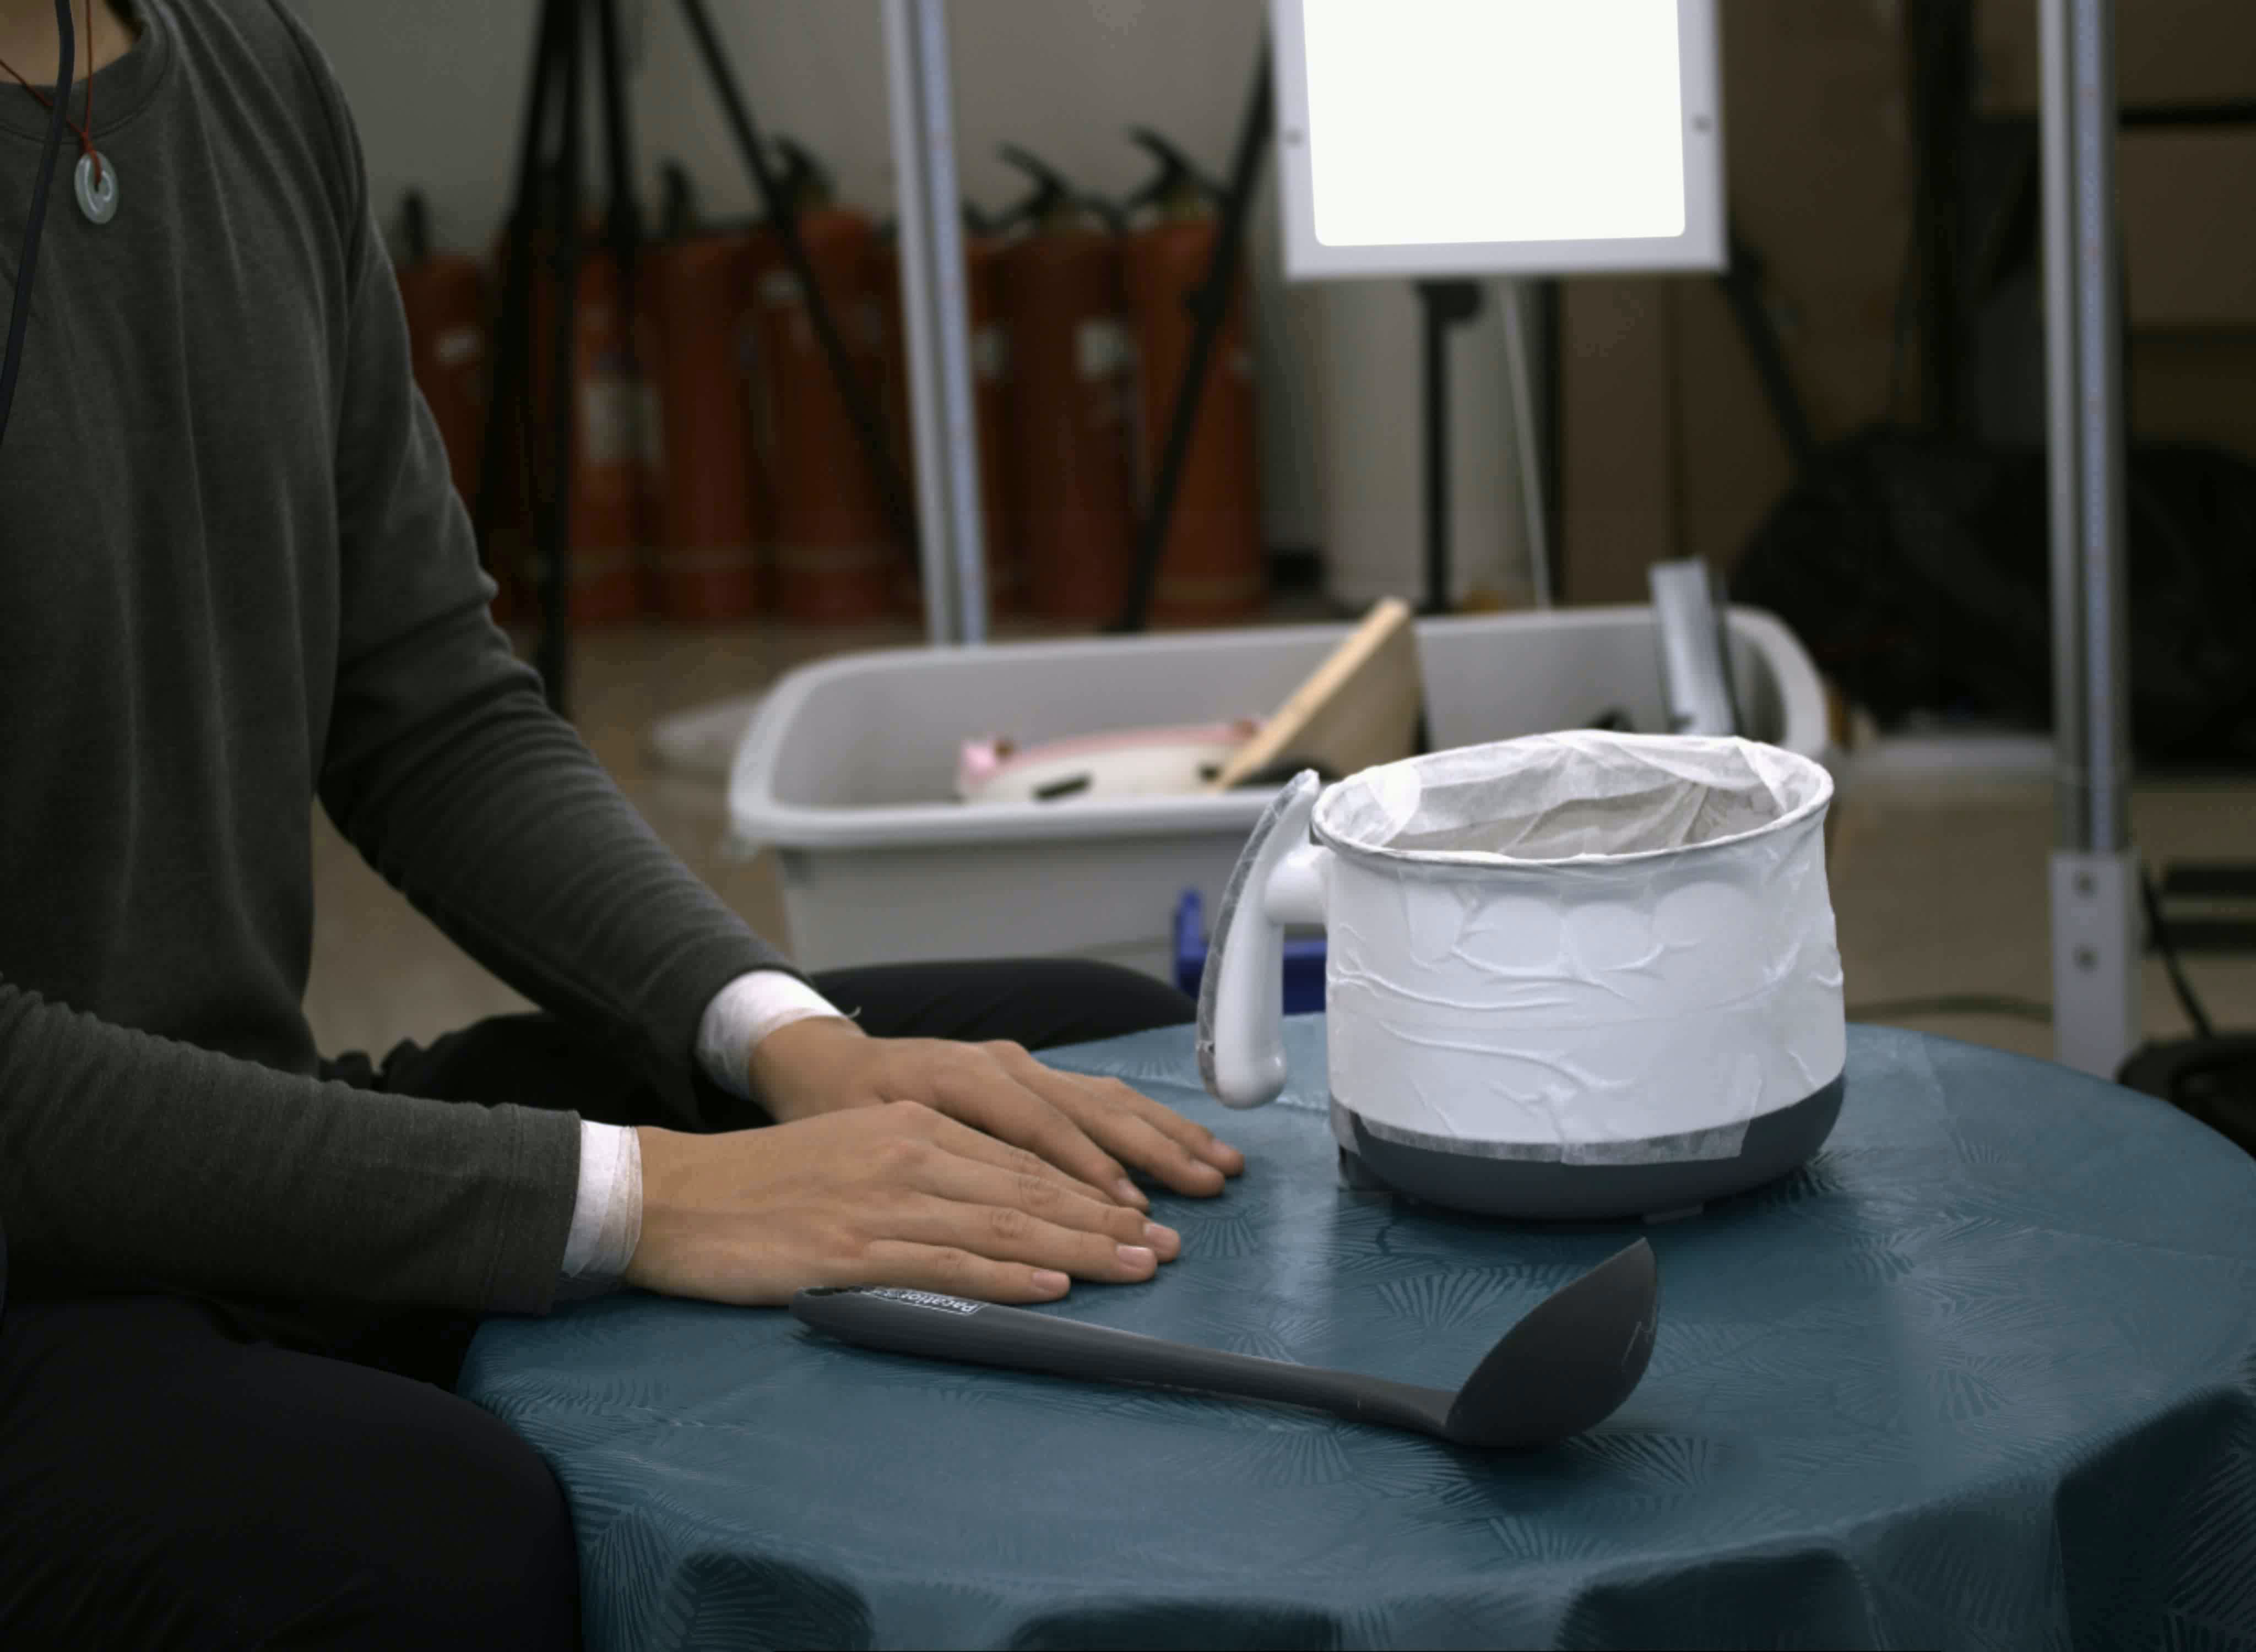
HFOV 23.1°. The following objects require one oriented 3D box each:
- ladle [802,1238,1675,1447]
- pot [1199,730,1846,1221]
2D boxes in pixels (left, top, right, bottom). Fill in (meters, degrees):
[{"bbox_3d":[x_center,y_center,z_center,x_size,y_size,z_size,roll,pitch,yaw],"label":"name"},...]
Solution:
[{"bbox_3d":[0.024,0.145,1.687,0.320,0.064,0.084,5,12,36],"label":"ladle"},{"bbox_3d":[0.131,0.049,1.882,0.238,0.137,0.175,2,15,27],"label":"pot"}]
